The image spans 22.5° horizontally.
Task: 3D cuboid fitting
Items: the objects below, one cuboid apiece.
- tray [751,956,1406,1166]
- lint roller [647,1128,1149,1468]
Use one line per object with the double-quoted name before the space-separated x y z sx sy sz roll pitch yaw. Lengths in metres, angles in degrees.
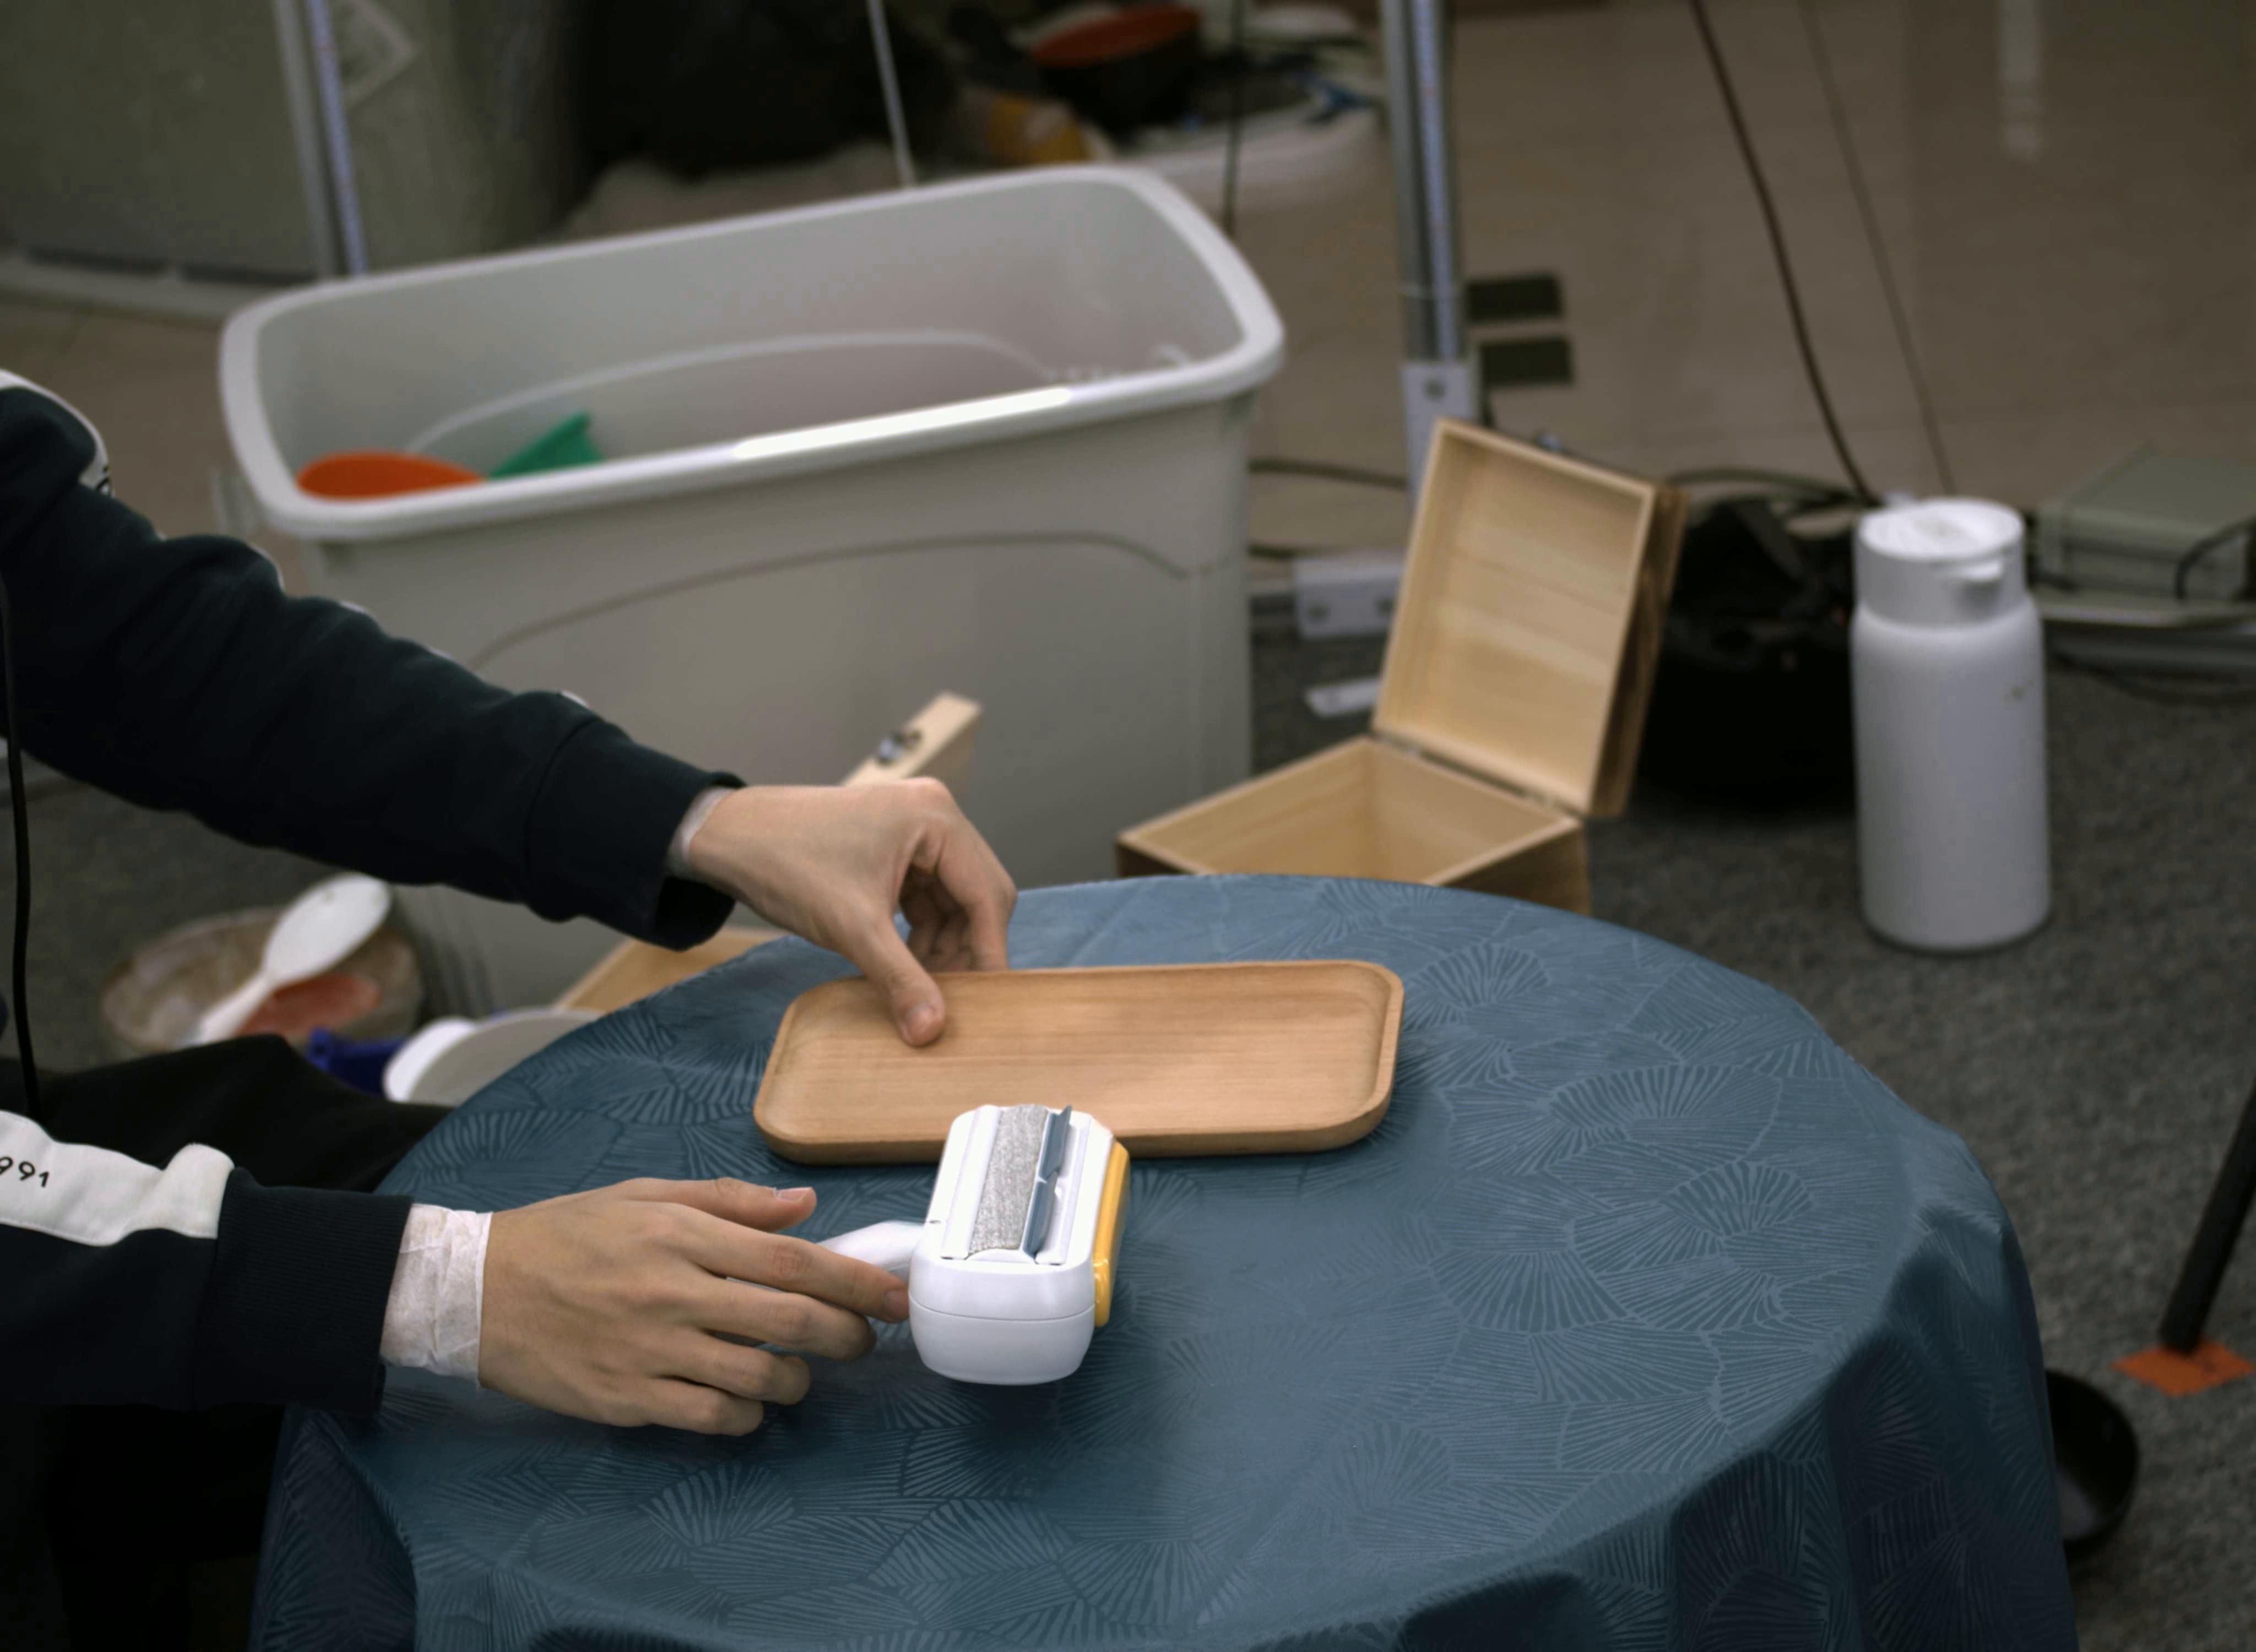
"tray" -0.018 0.093 2.218 0.250 0.023 0.128 -2 28 11
"lint roller" -0.091 0.179 2.045 0.192 0.075 0.190 -17 15 14
